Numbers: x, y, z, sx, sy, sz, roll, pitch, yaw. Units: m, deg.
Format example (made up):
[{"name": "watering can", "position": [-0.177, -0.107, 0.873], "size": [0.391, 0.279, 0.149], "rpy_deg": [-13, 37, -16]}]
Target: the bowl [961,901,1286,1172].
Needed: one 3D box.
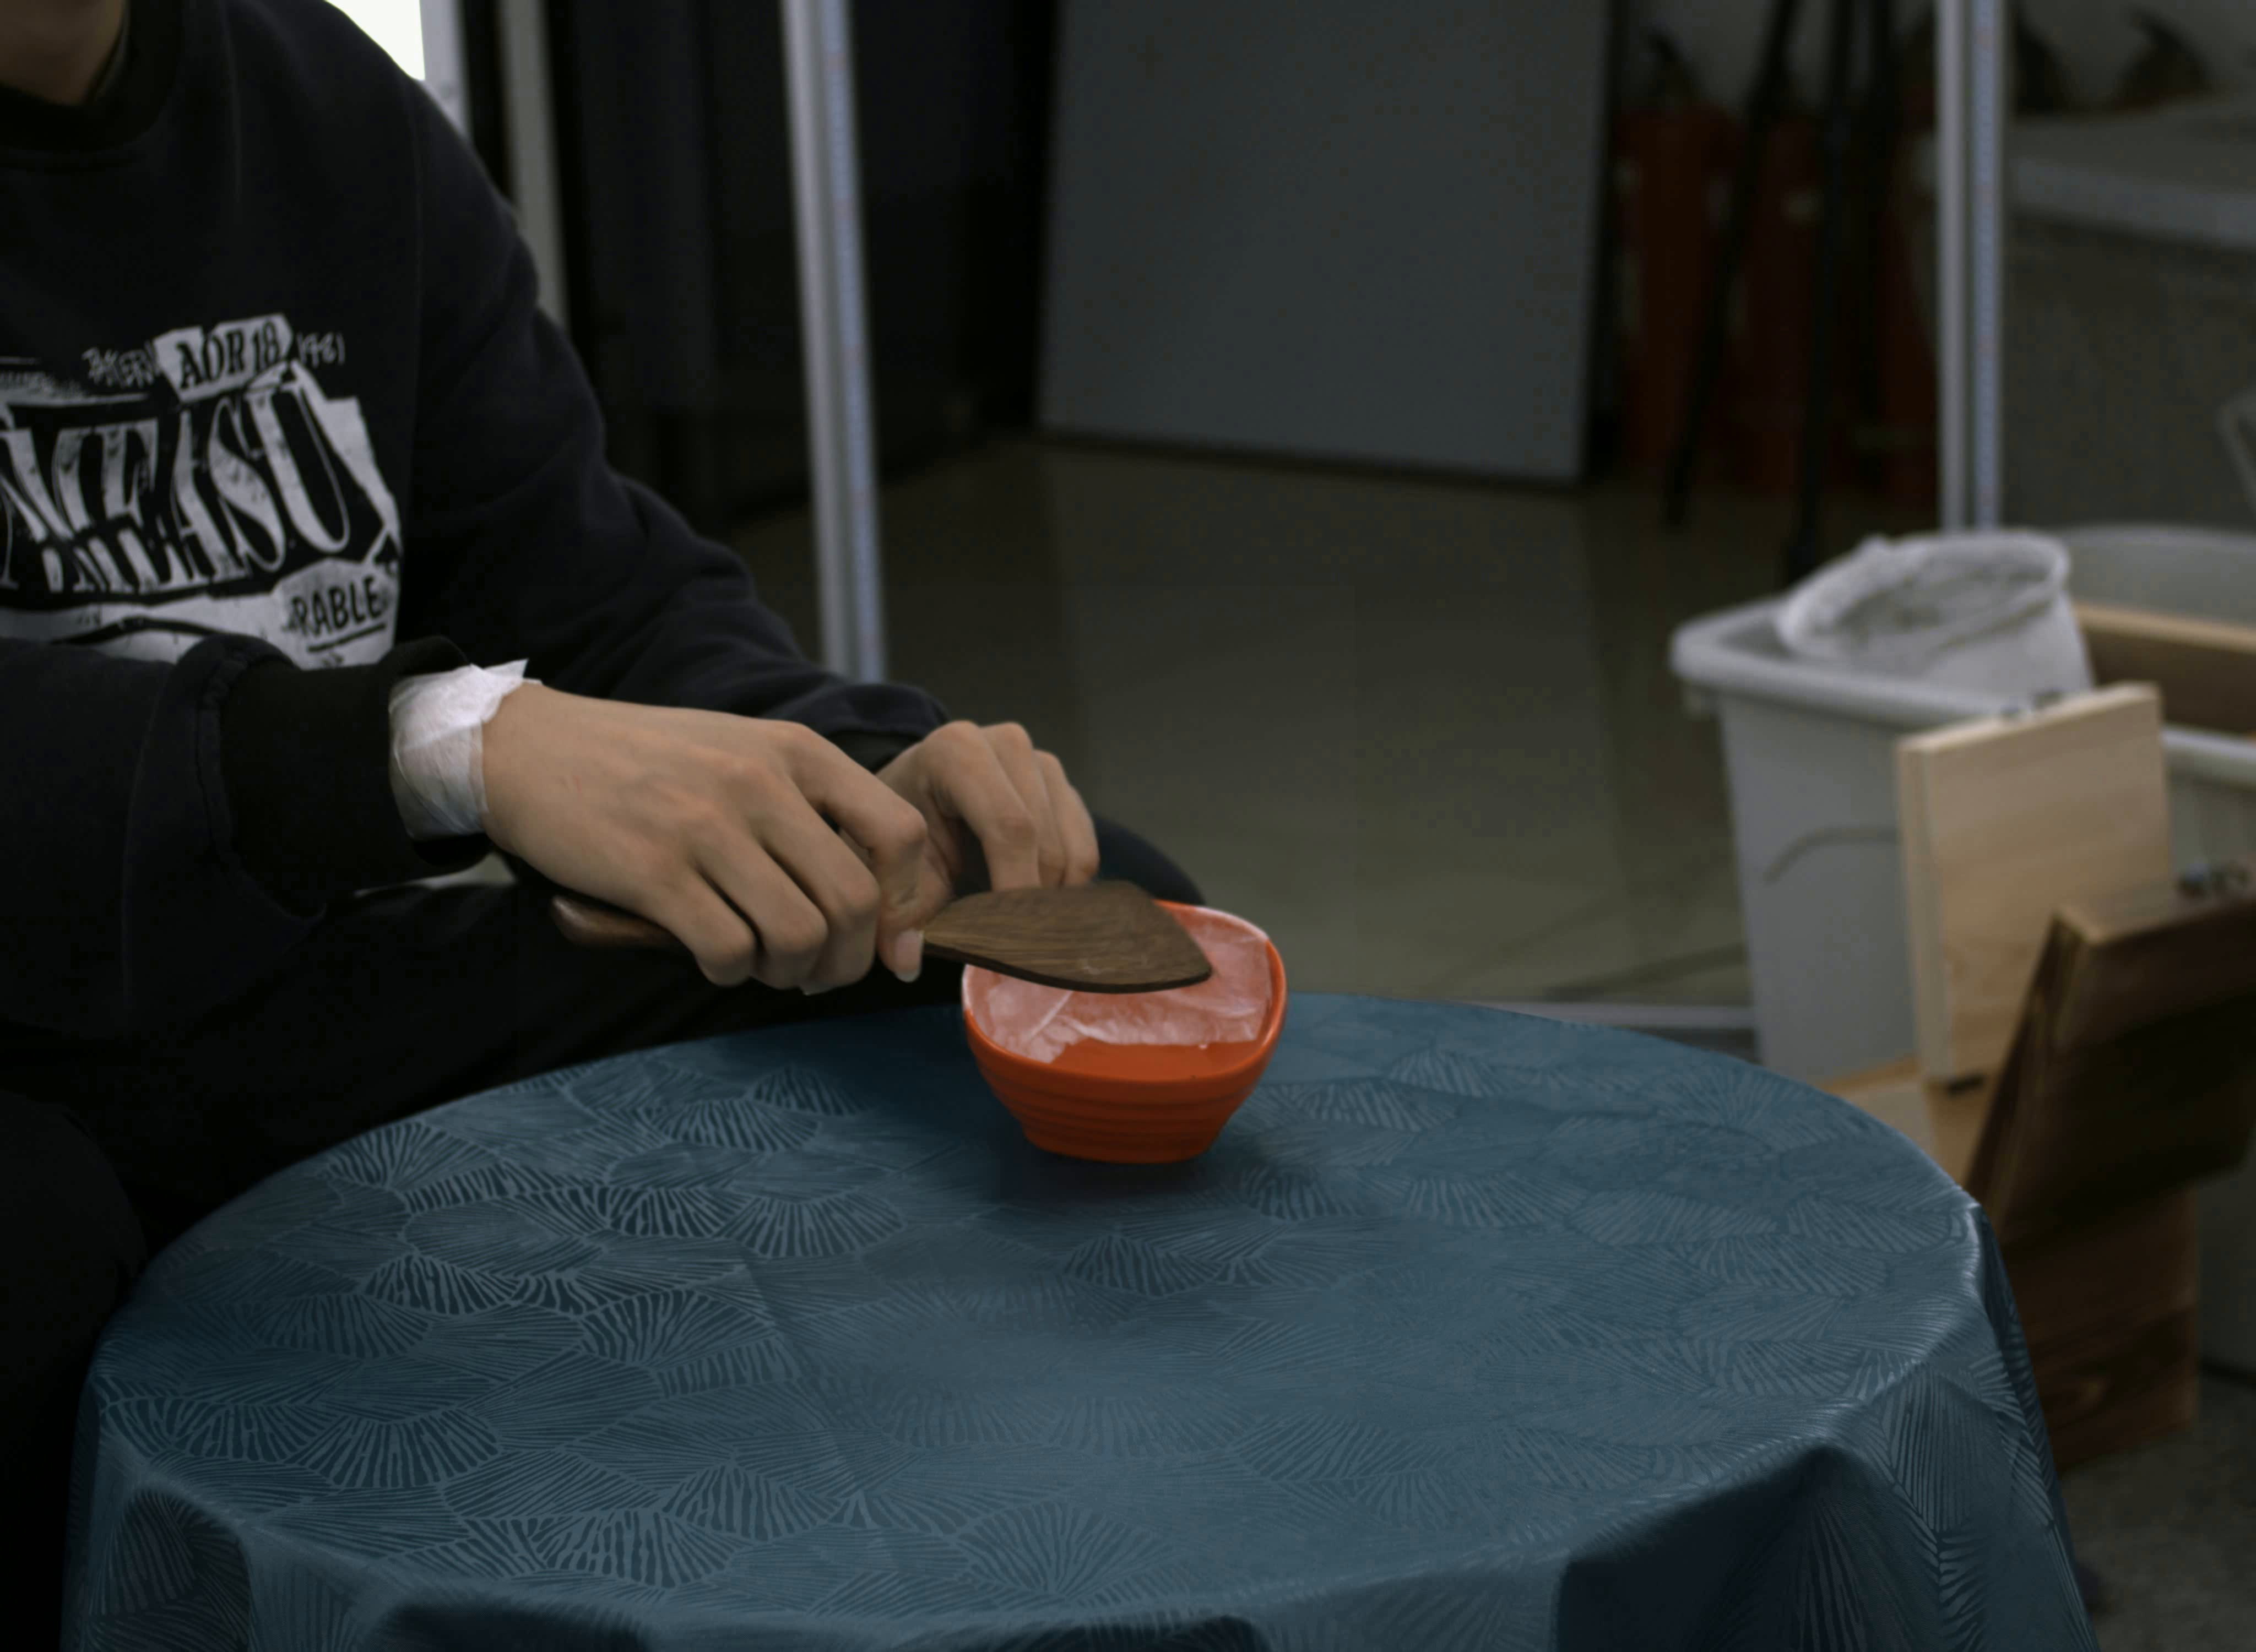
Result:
[{"name": "bowl", "position": [-0.002, 0.076, 1.812], "size": [0.117, 0.052, 0.119], "rpy_deg": [1, 33, -1]}]

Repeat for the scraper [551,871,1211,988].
[{"name": "scraper", "position": [-0.077, 0.031, 1.675], "size": [0.206, 0.011, 0.076], "rpy_deg": [1, 24, -23]}]
